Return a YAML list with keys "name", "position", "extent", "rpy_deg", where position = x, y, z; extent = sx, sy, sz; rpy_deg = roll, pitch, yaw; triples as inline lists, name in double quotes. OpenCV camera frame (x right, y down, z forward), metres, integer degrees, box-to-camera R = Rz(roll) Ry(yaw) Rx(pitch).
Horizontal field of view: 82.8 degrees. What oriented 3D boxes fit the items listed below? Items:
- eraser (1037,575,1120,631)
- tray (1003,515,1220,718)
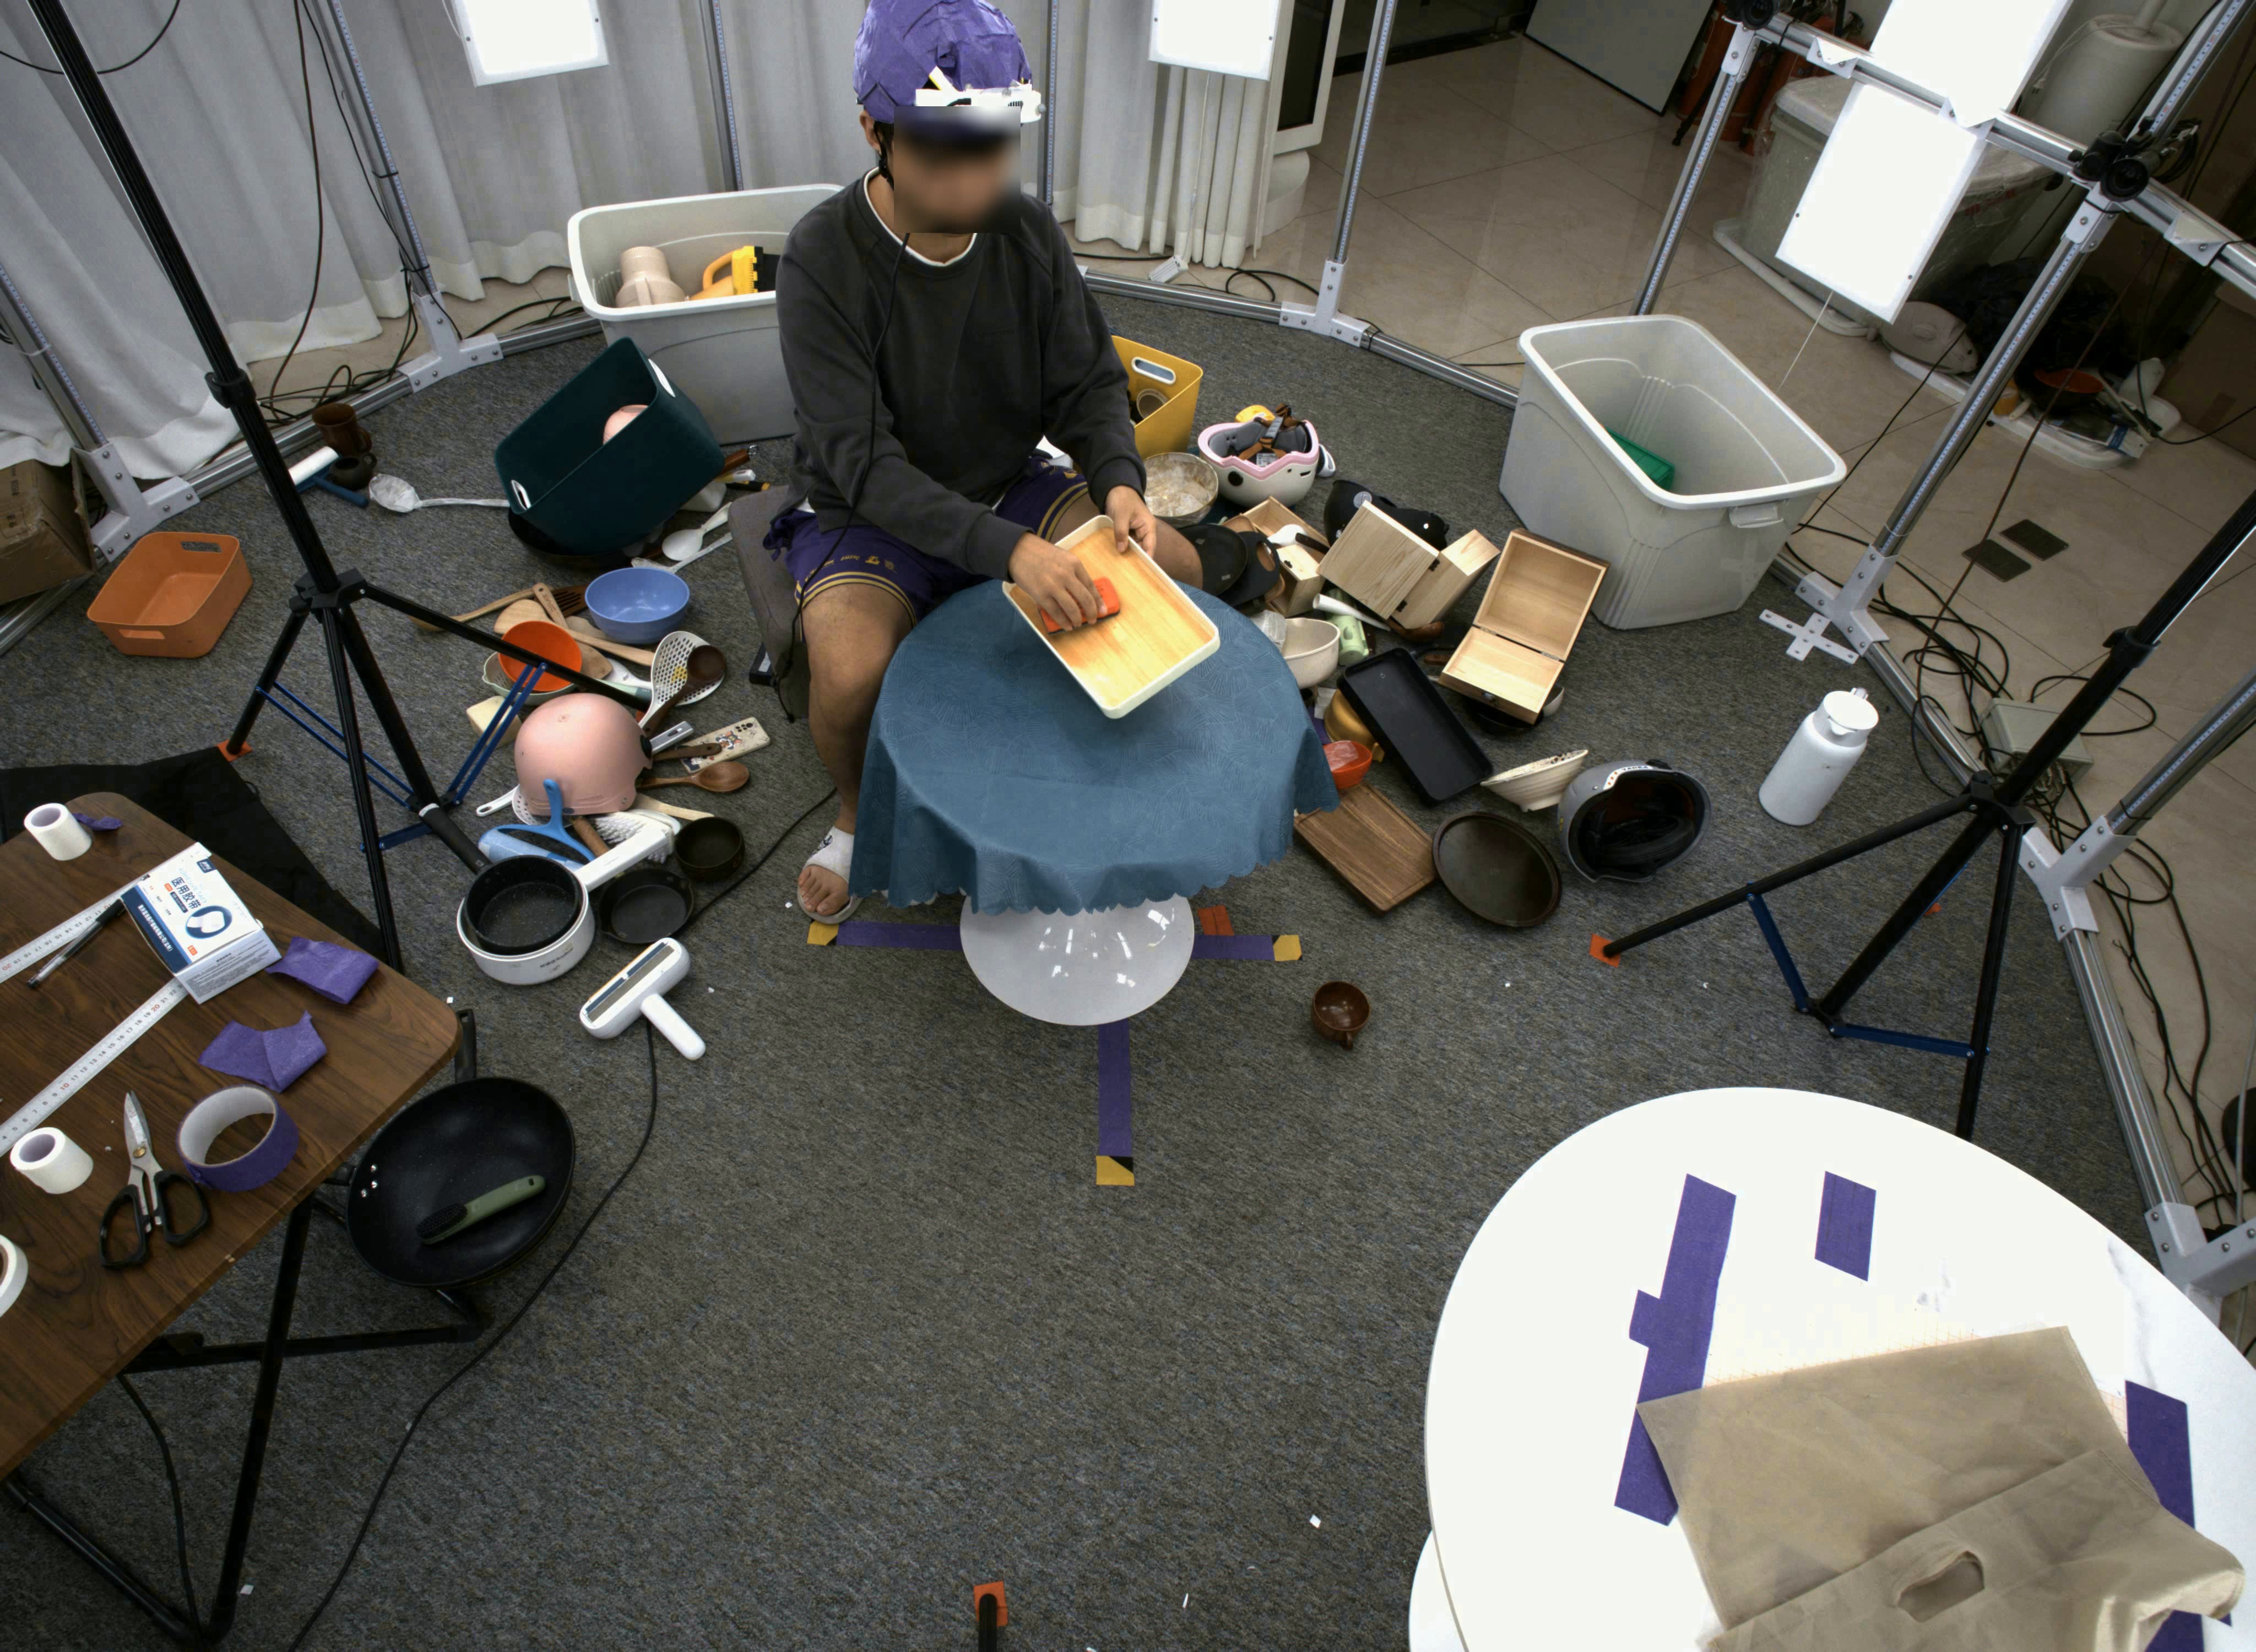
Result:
- name: "eraser"
  position: [-0.069, -0.310, 1.785]
  extent: [0.108, 0.022, 0.060]
  rpy_deg: [-20, 49, -7]
- name: "tray"
  position: [-0.027, -0.296, 1.785]
  extent: [0.192, 0.027, 0.306]
  rpy_deg: [-35, 58, -6]
